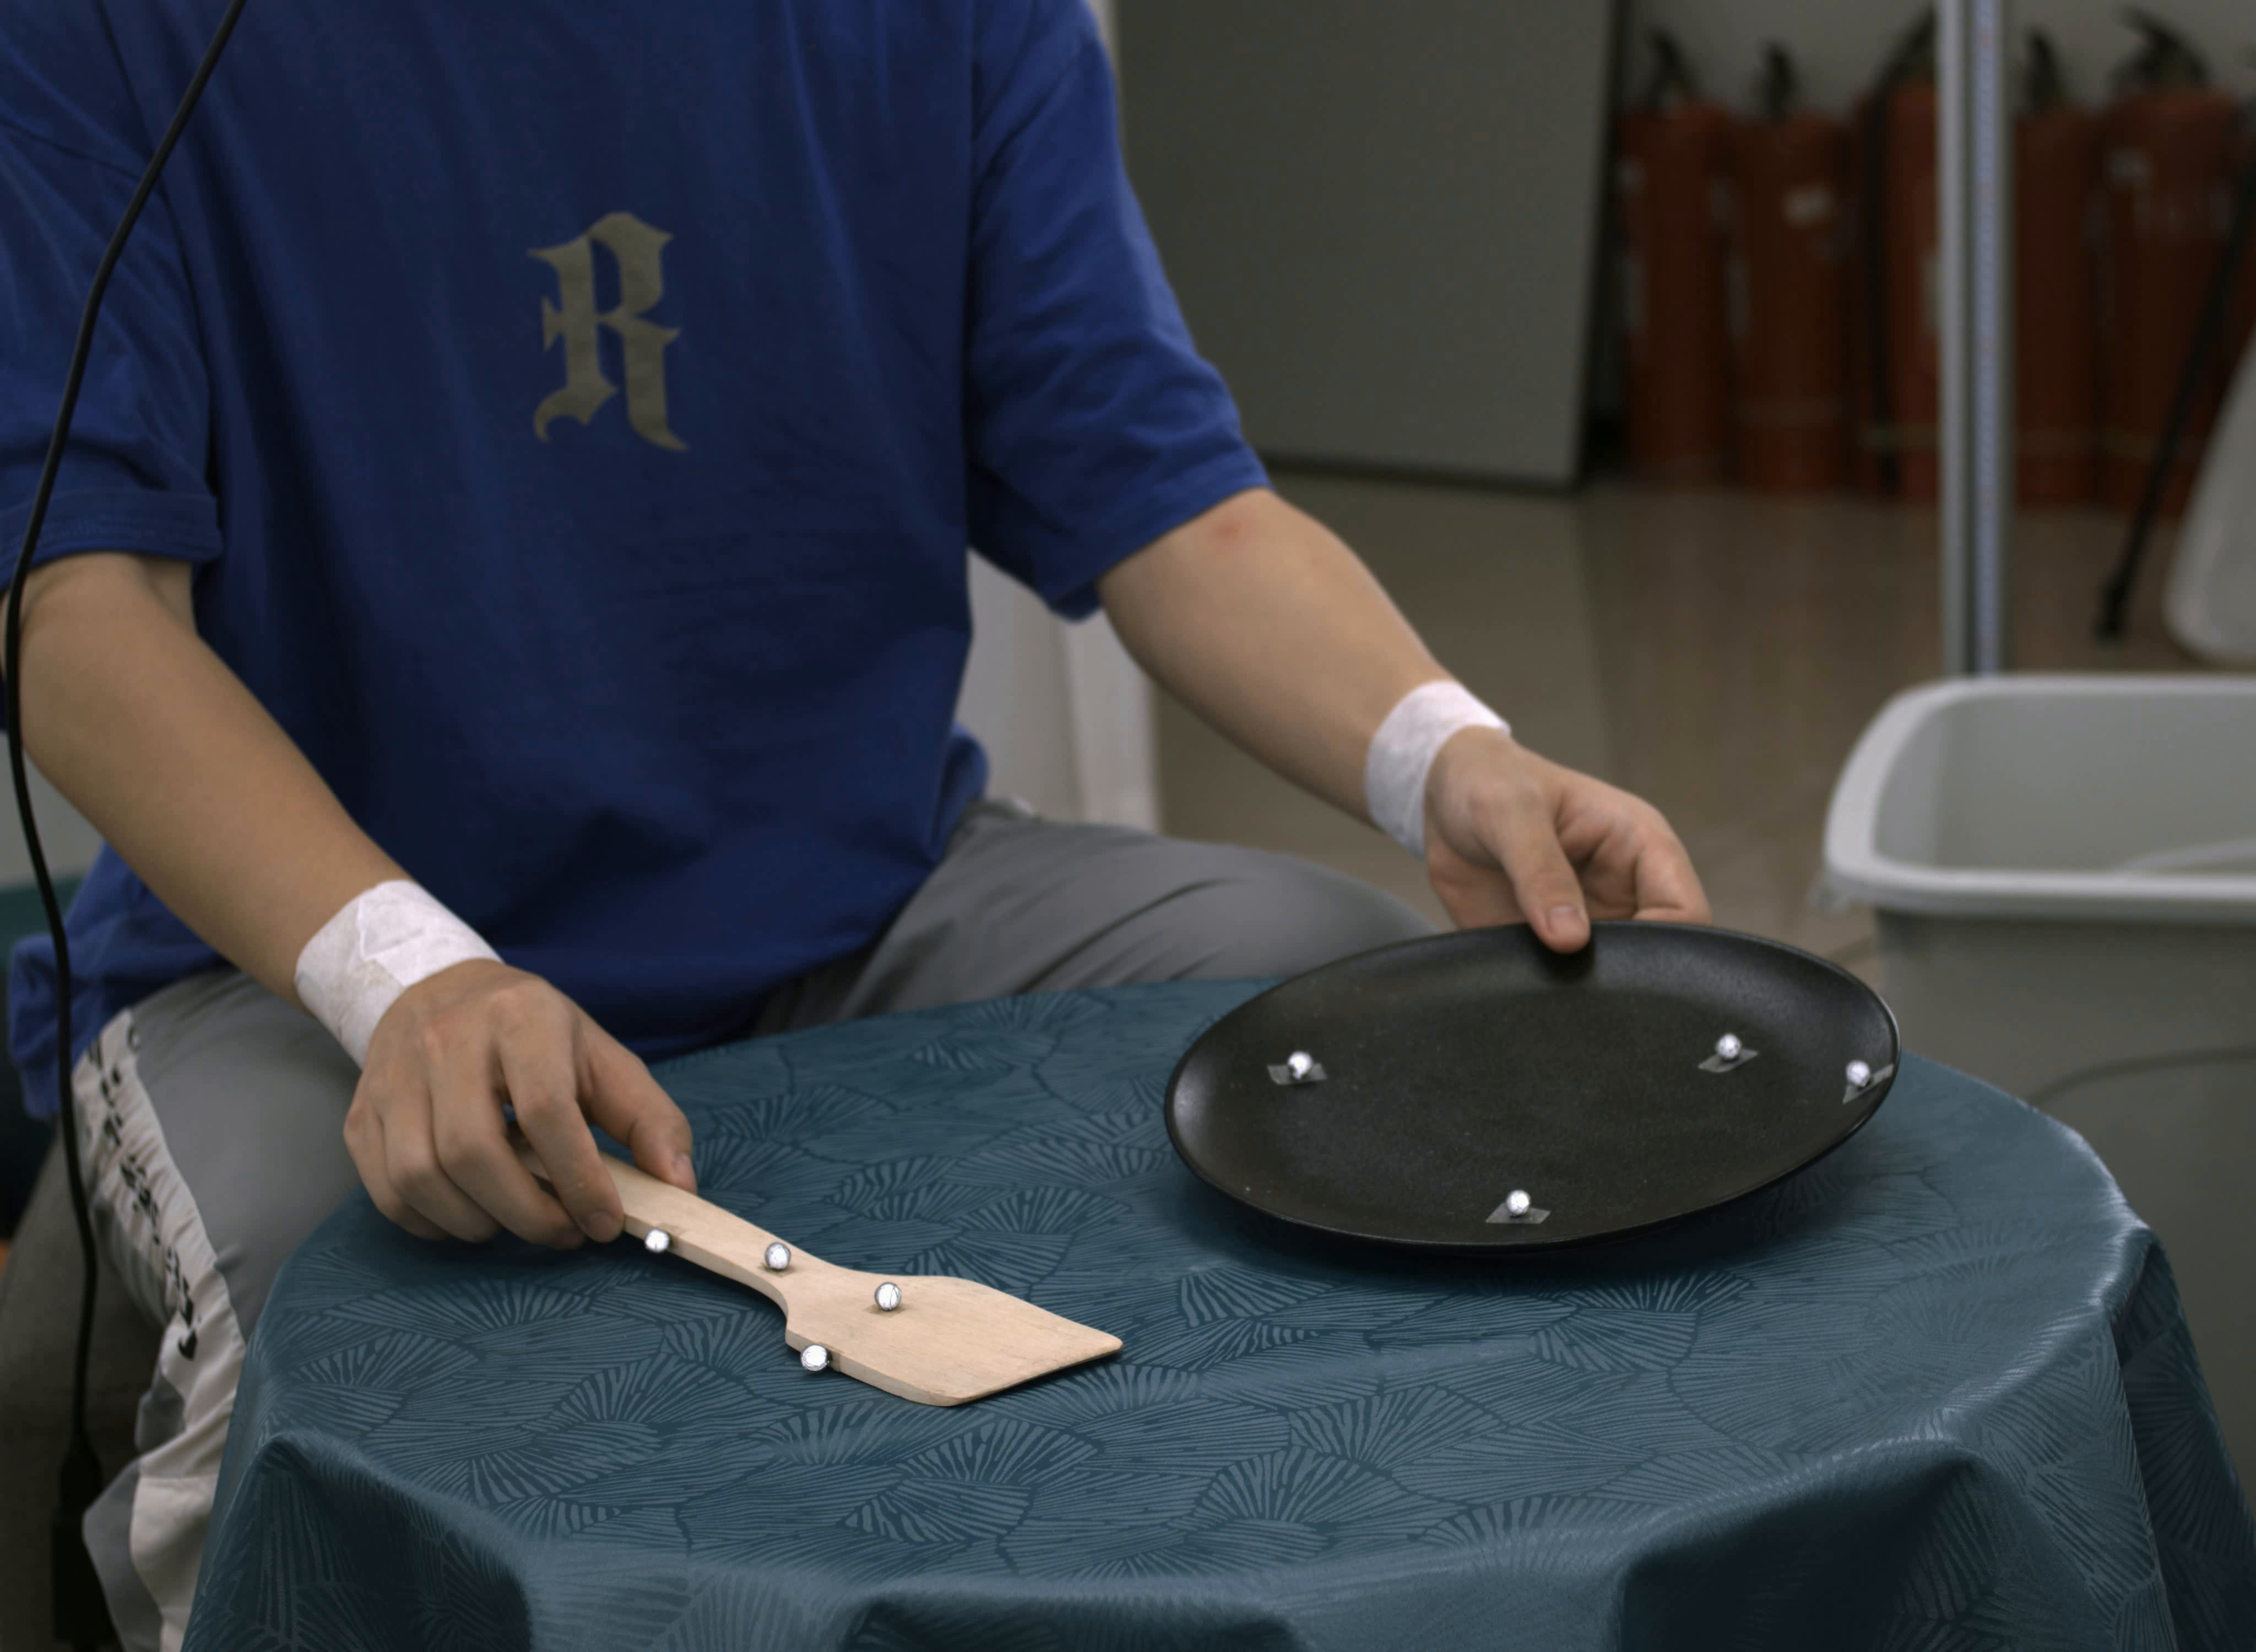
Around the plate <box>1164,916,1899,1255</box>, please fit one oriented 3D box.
[{"bbox_3d":[0.132,0.089,1.758,0.241,0.023,0.245,-8,22,2],"label":"plate"}]

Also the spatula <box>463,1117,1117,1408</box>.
[{"bbox_3d":[-0.121,0.134,1.705,0.071,0.011,0.296,-15,22,-38],"label":"spatula"}]
